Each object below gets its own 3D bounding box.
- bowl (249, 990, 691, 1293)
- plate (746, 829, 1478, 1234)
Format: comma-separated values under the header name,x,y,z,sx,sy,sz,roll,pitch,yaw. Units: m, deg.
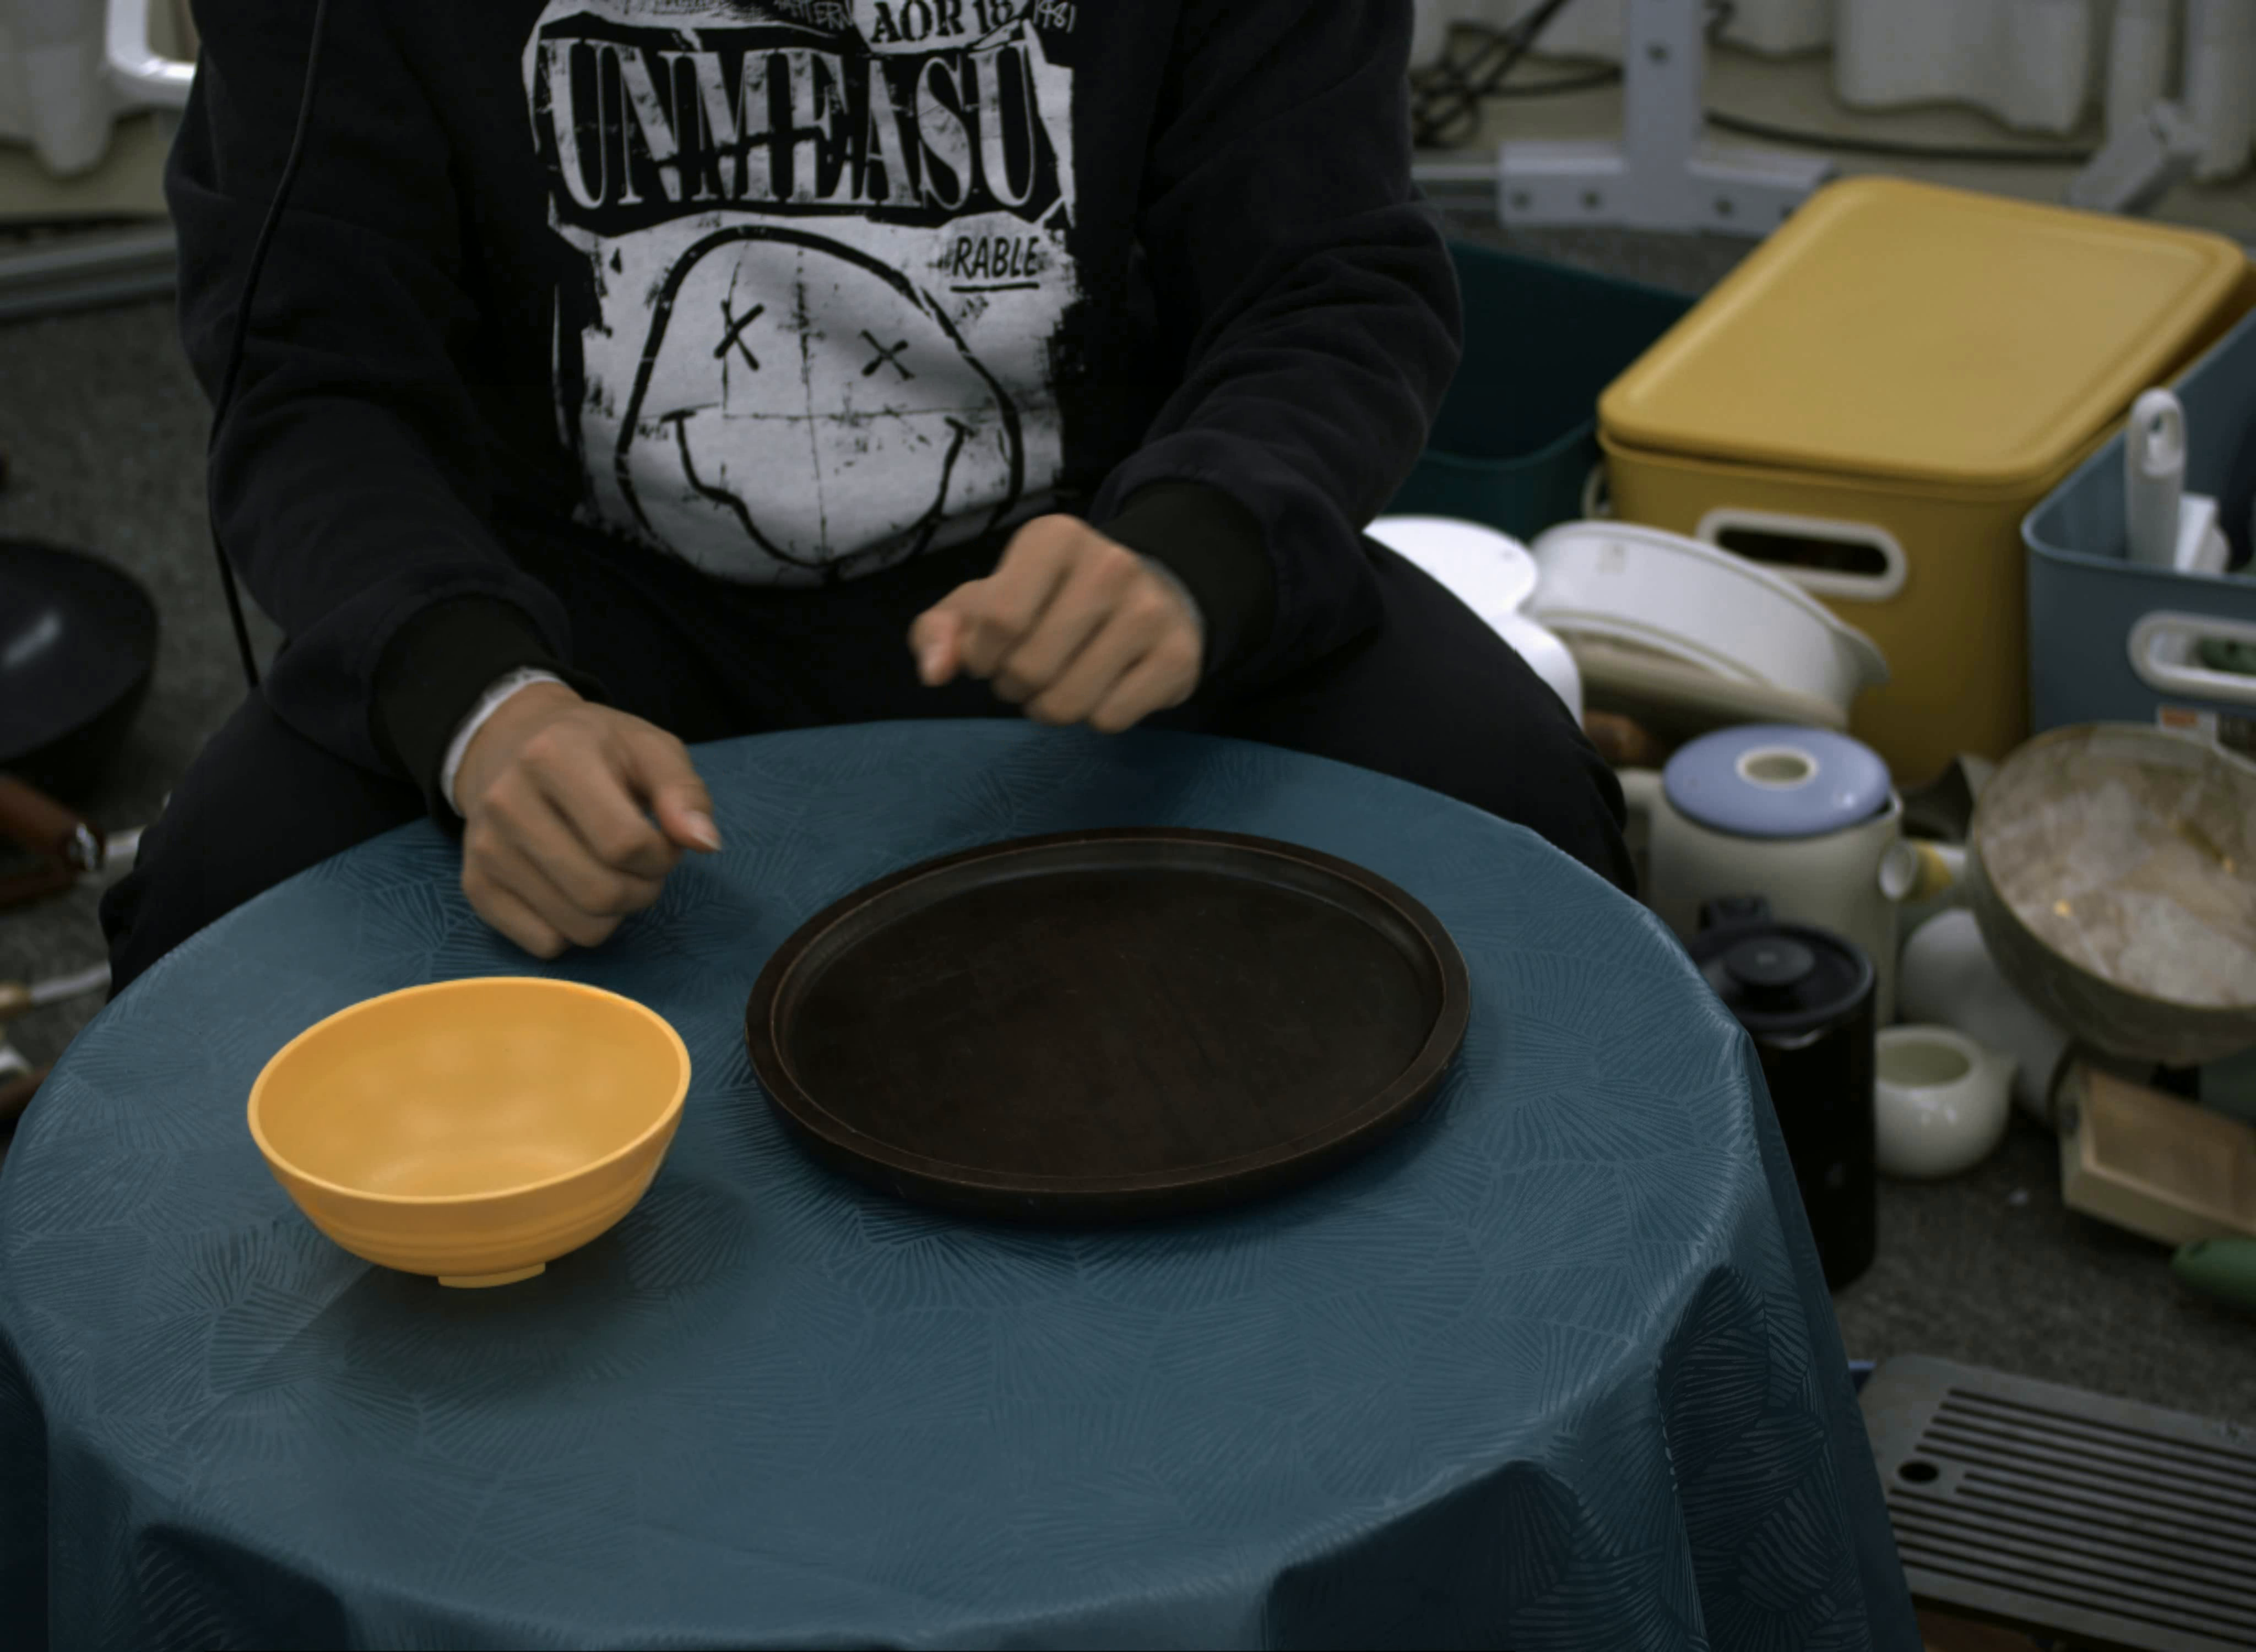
name,x,y,z,sx,sy,sz,roll,pitch,yaw
bowl,-0.213,0.112,1.841,0.144,0.059,0.147,-2,25,1
plate,-0.005,0.069,1.939,0.253,0.029,0.258,-4,27,2
